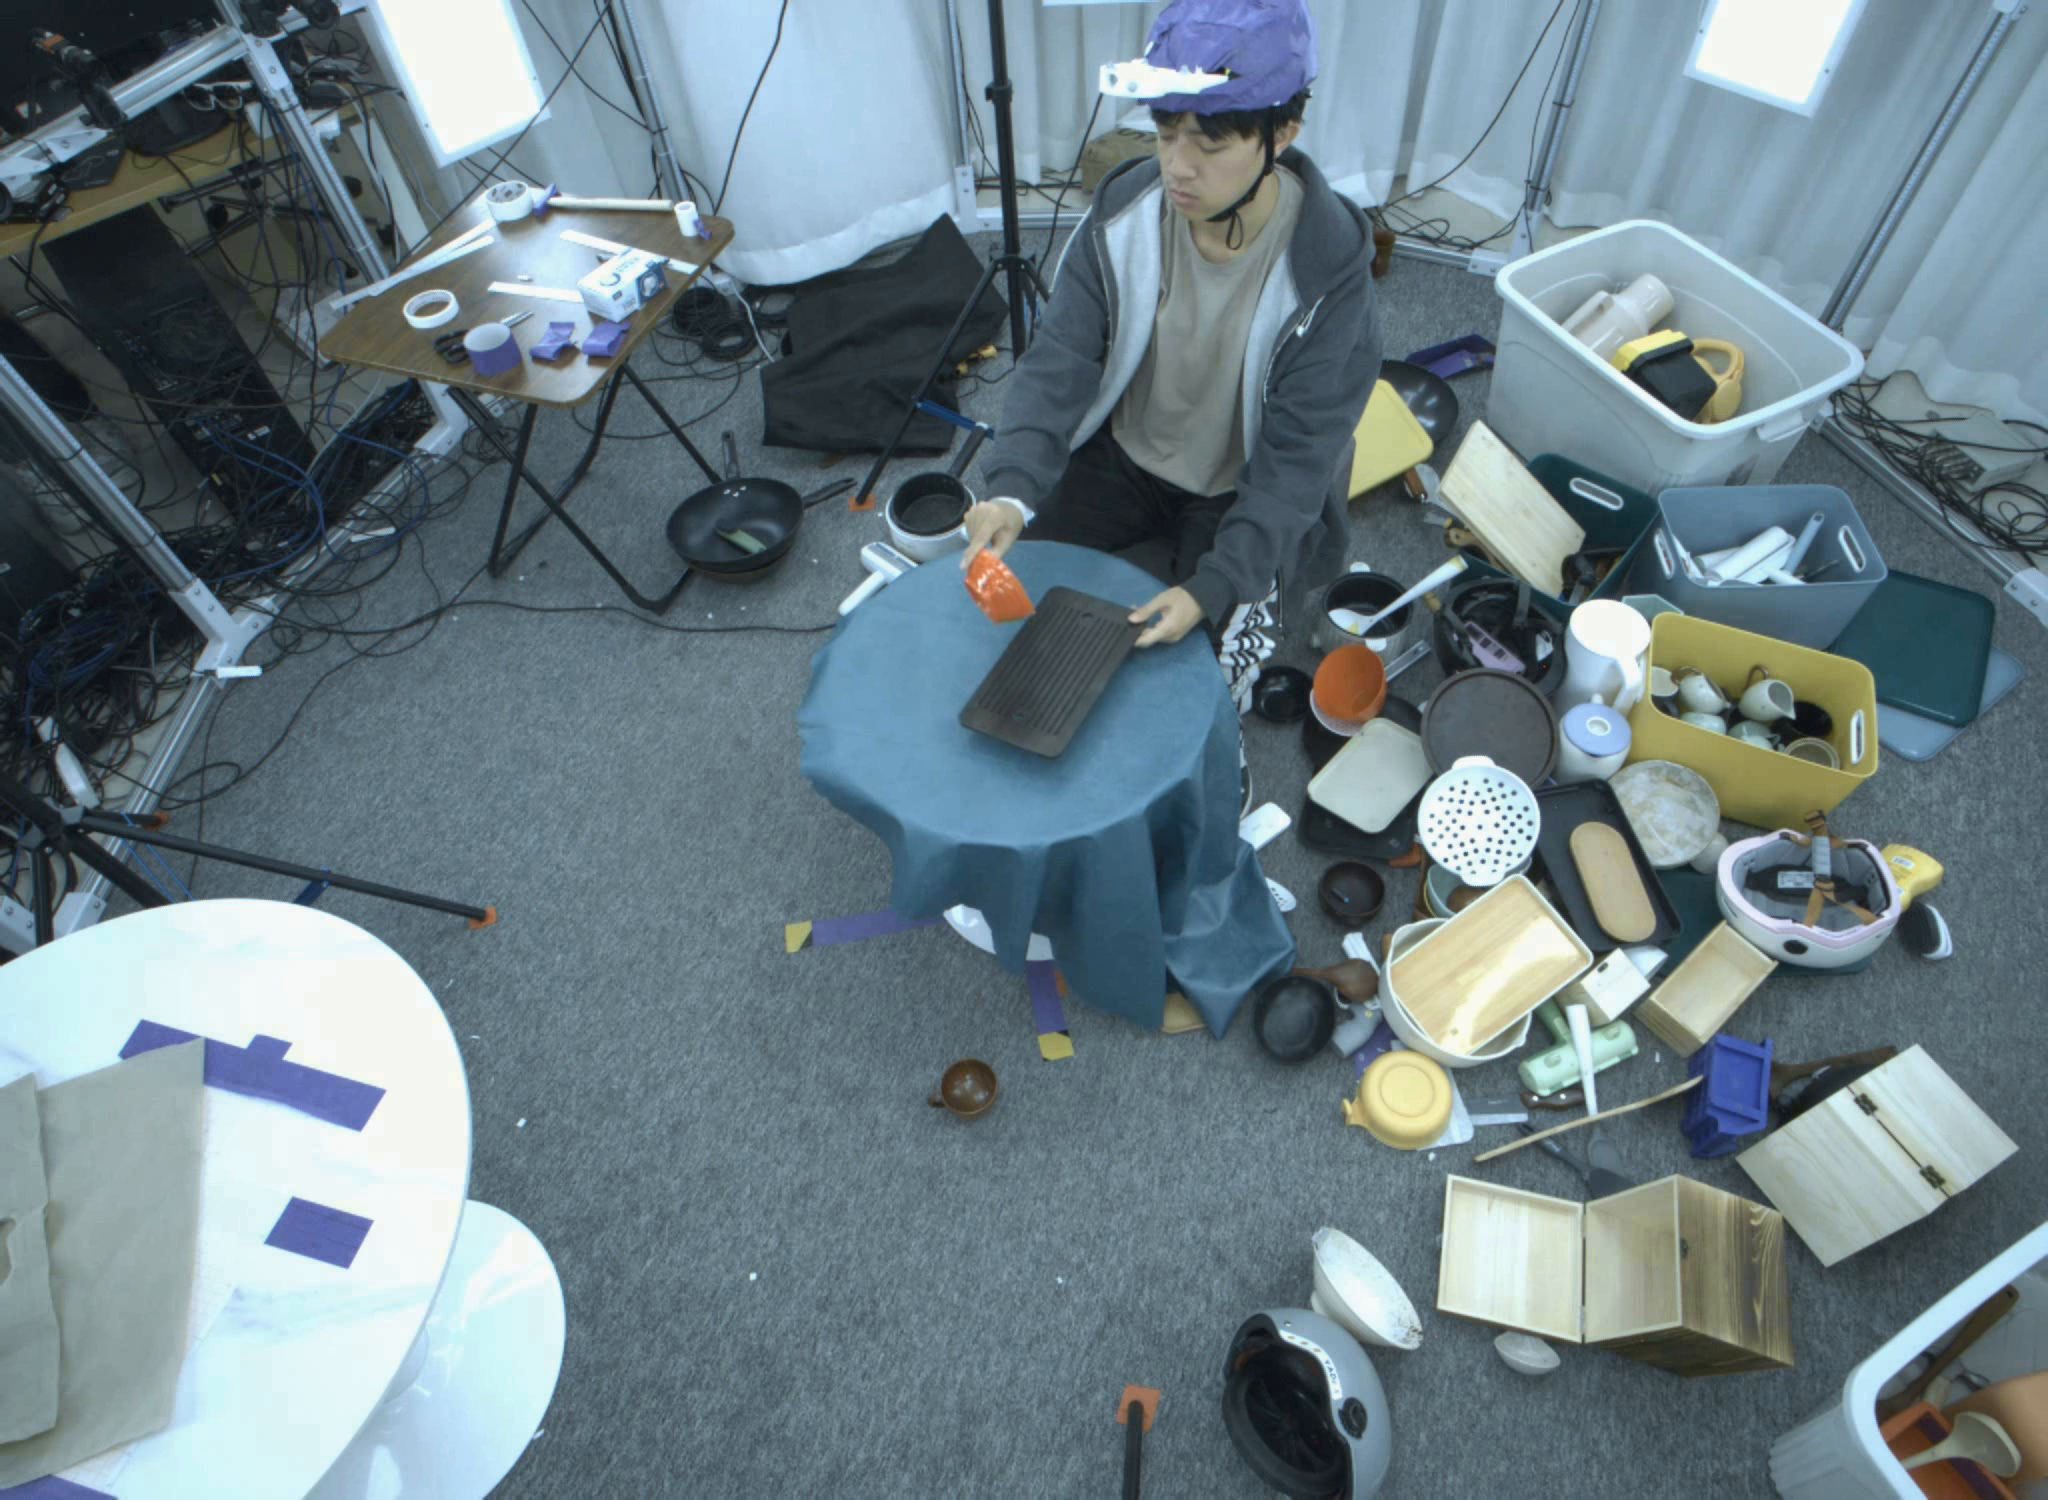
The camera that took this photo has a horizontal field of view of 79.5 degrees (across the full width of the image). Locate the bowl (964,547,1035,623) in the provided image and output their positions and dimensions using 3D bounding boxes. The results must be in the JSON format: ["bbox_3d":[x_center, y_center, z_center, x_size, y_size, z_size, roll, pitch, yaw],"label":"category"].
[{"bbox_3d":[-0.042,-0.222,1.712,0.051,0.121,0.116,-40,61,-5],"label":"bowl"}]

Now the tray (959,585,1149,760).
[{"bbox_3d":[0.048,-0.120,1.822,0.167,0.019,0.306,21,57,19],"label":"tray"}]
